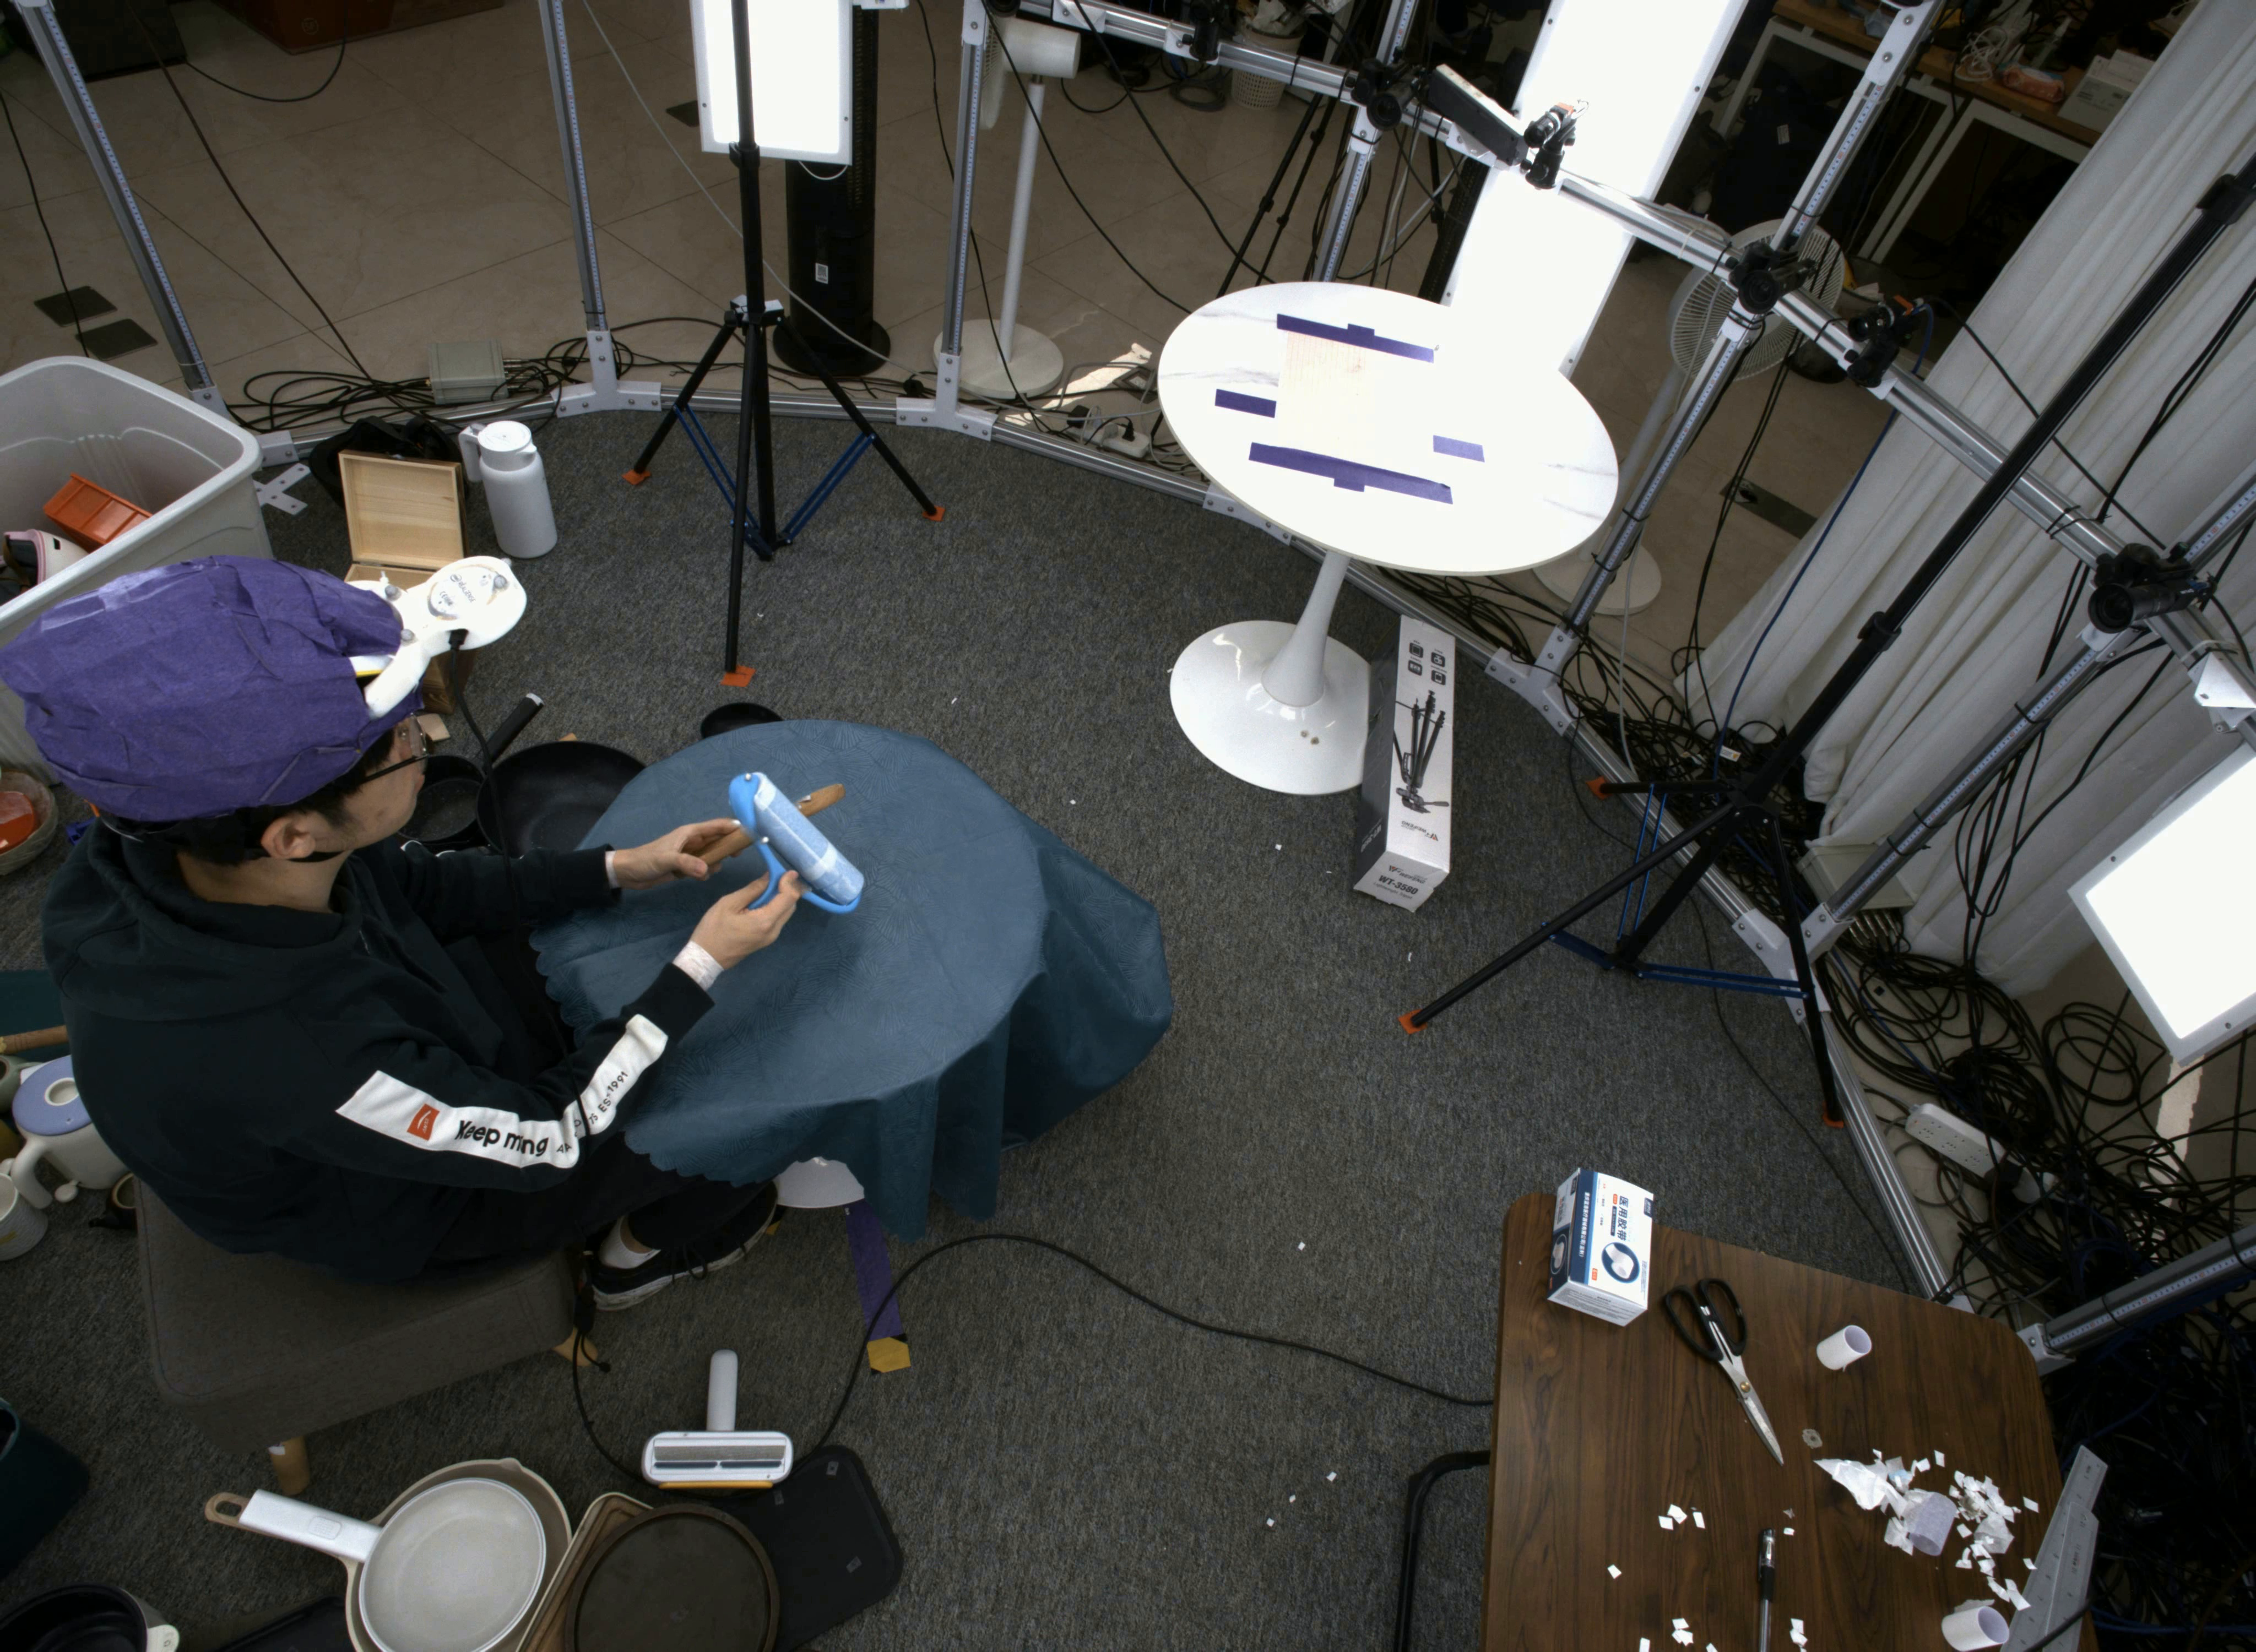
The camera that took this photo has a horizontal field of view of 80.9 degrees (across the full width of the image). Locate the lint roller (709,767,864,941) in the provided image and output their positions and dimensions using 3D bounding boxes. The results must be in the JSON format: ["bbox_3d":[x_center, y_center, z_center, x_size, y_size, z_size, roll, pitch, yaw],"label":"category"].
[{"bbox_3d":[-0.419,0.061,1.519,0.065,0.238,0.180,10,61,39],"label":"lint roller"}]

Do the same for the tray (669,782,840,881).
[{"bbox_3d":[-0.457,0.005,1.588,0.231,0.100,0.021,-30,100,-13],"label":"tray"}]
